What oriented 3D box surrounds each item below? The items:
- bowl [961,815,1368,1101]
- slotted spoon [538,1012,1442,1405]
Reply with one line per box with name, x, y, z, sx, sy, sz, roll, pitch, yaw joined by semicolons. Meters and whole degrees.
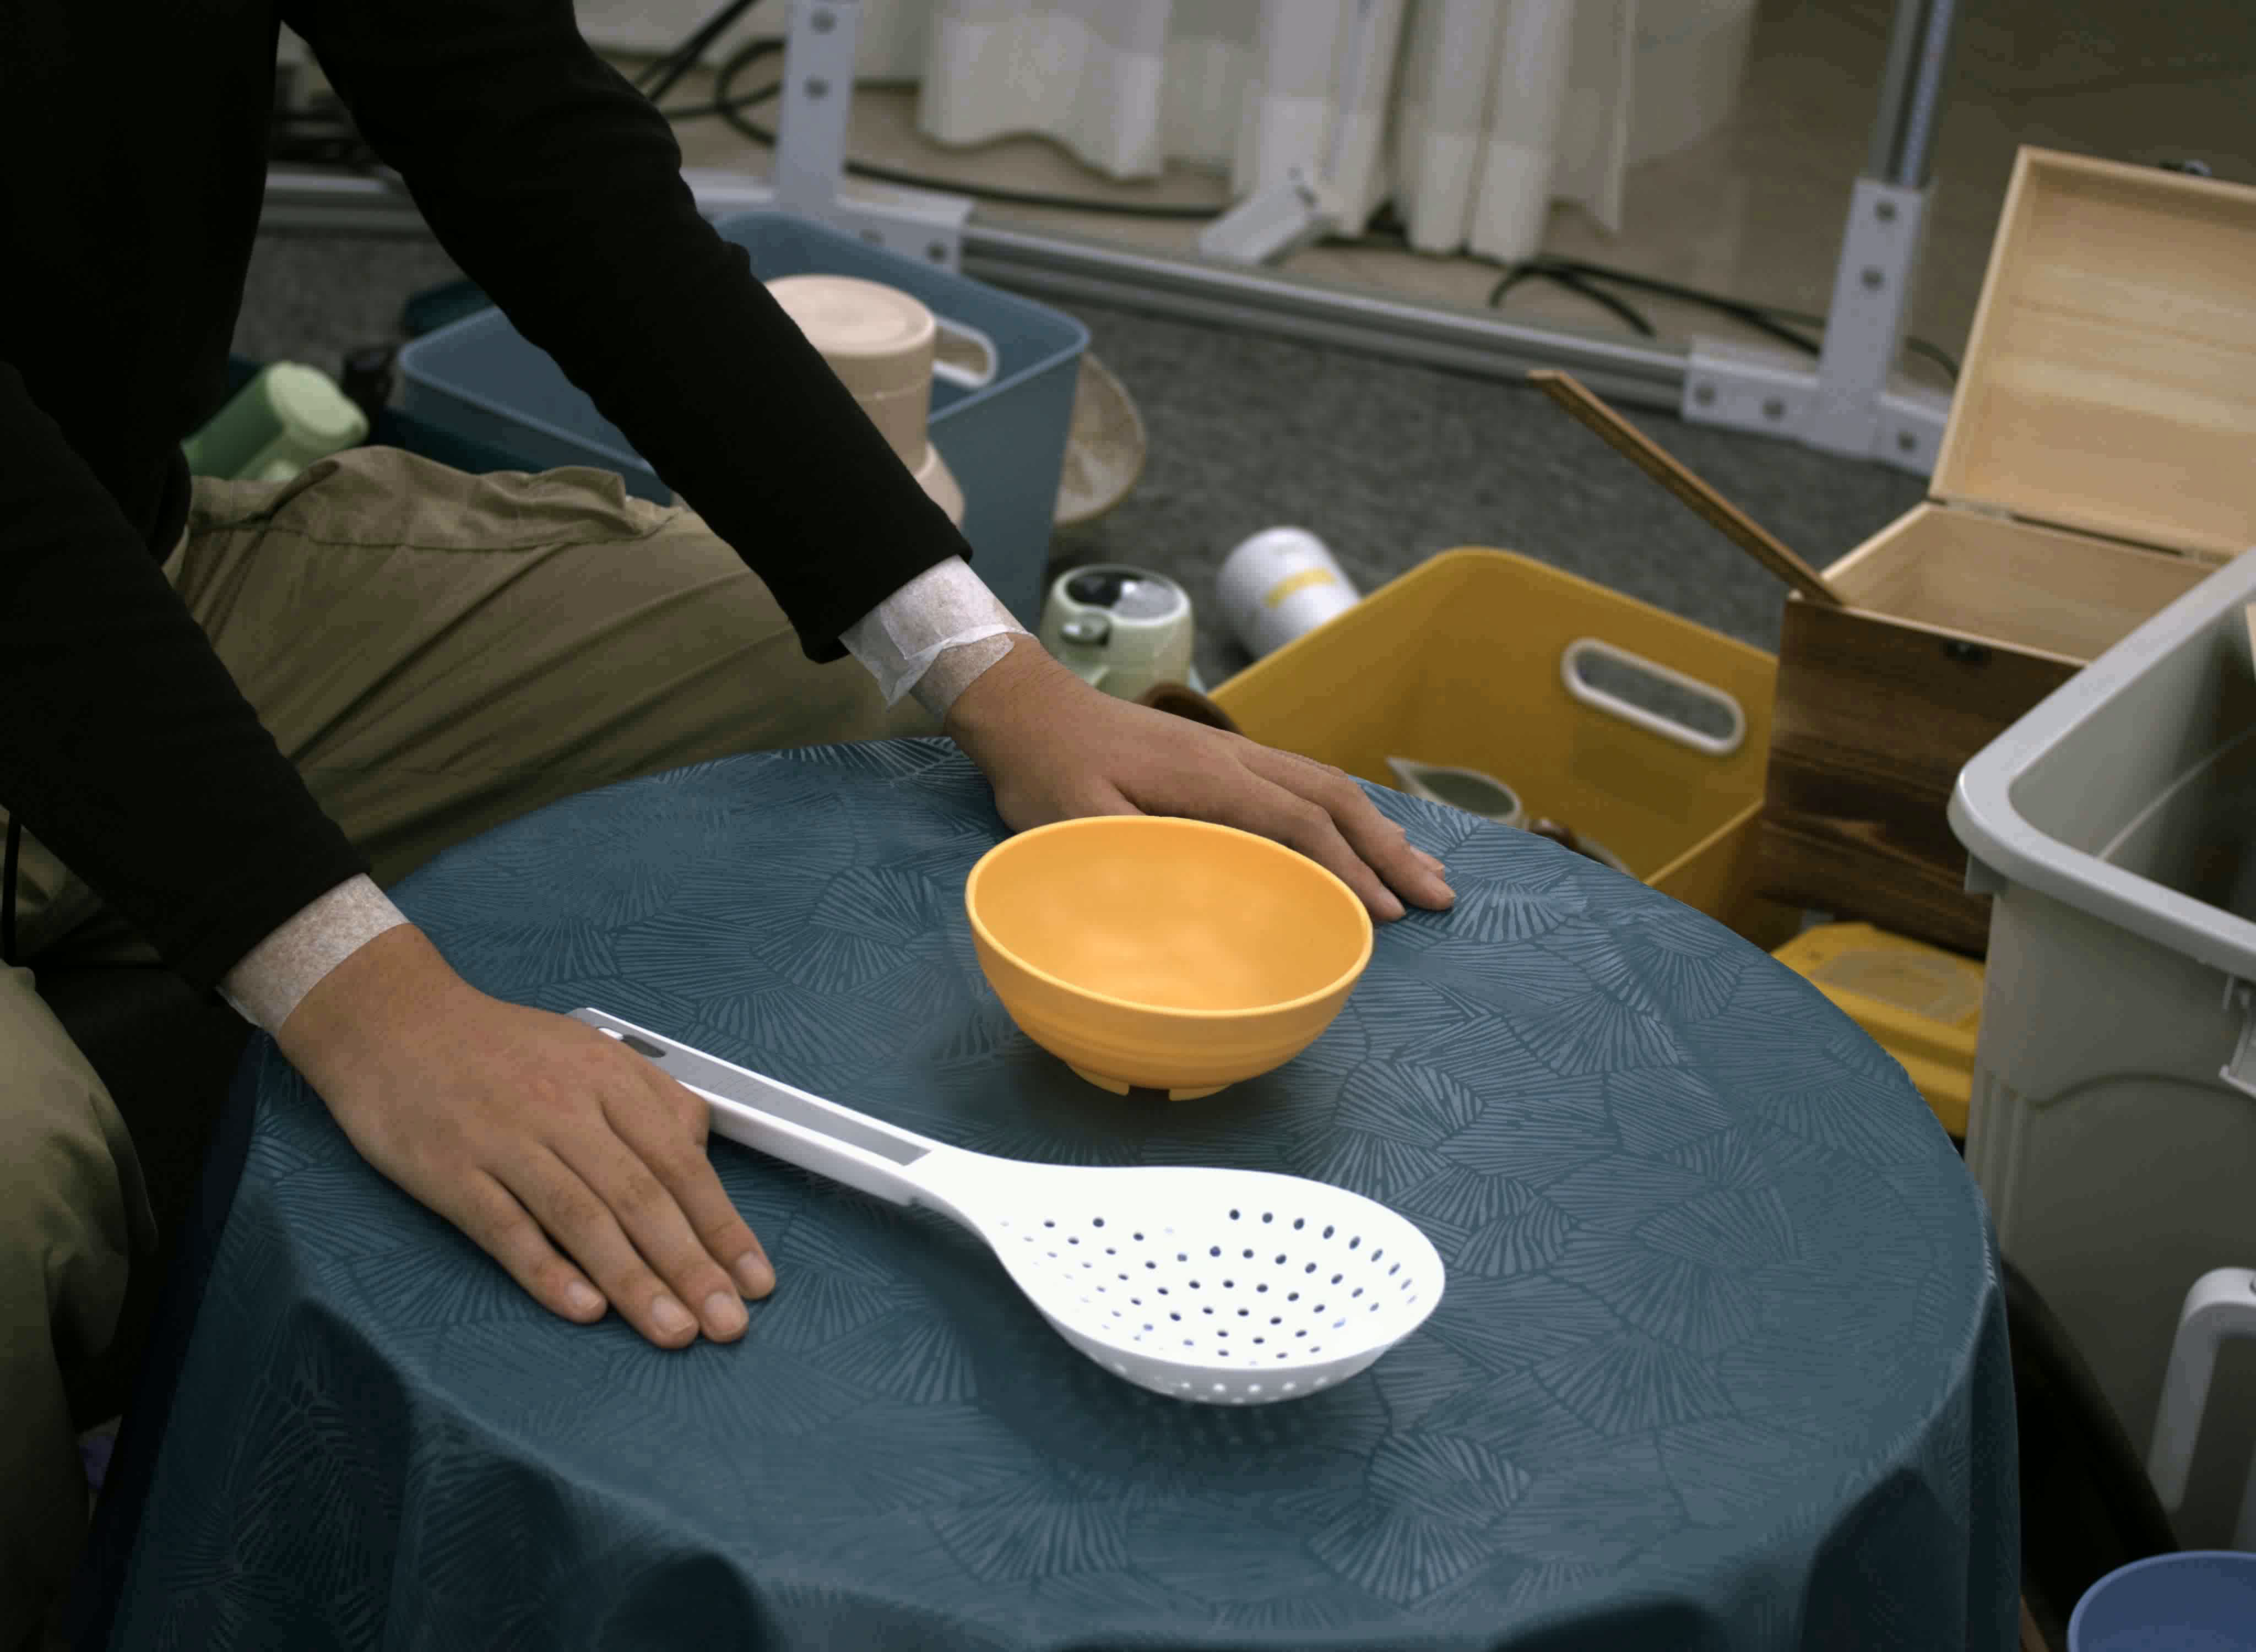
bowl;0.009;0.056;1.875;0.145;0.060;0.146;7;27;-4
slotted spoon;-0.056;0.119;1.749;0.352;0.045;0.135;22;30;30
